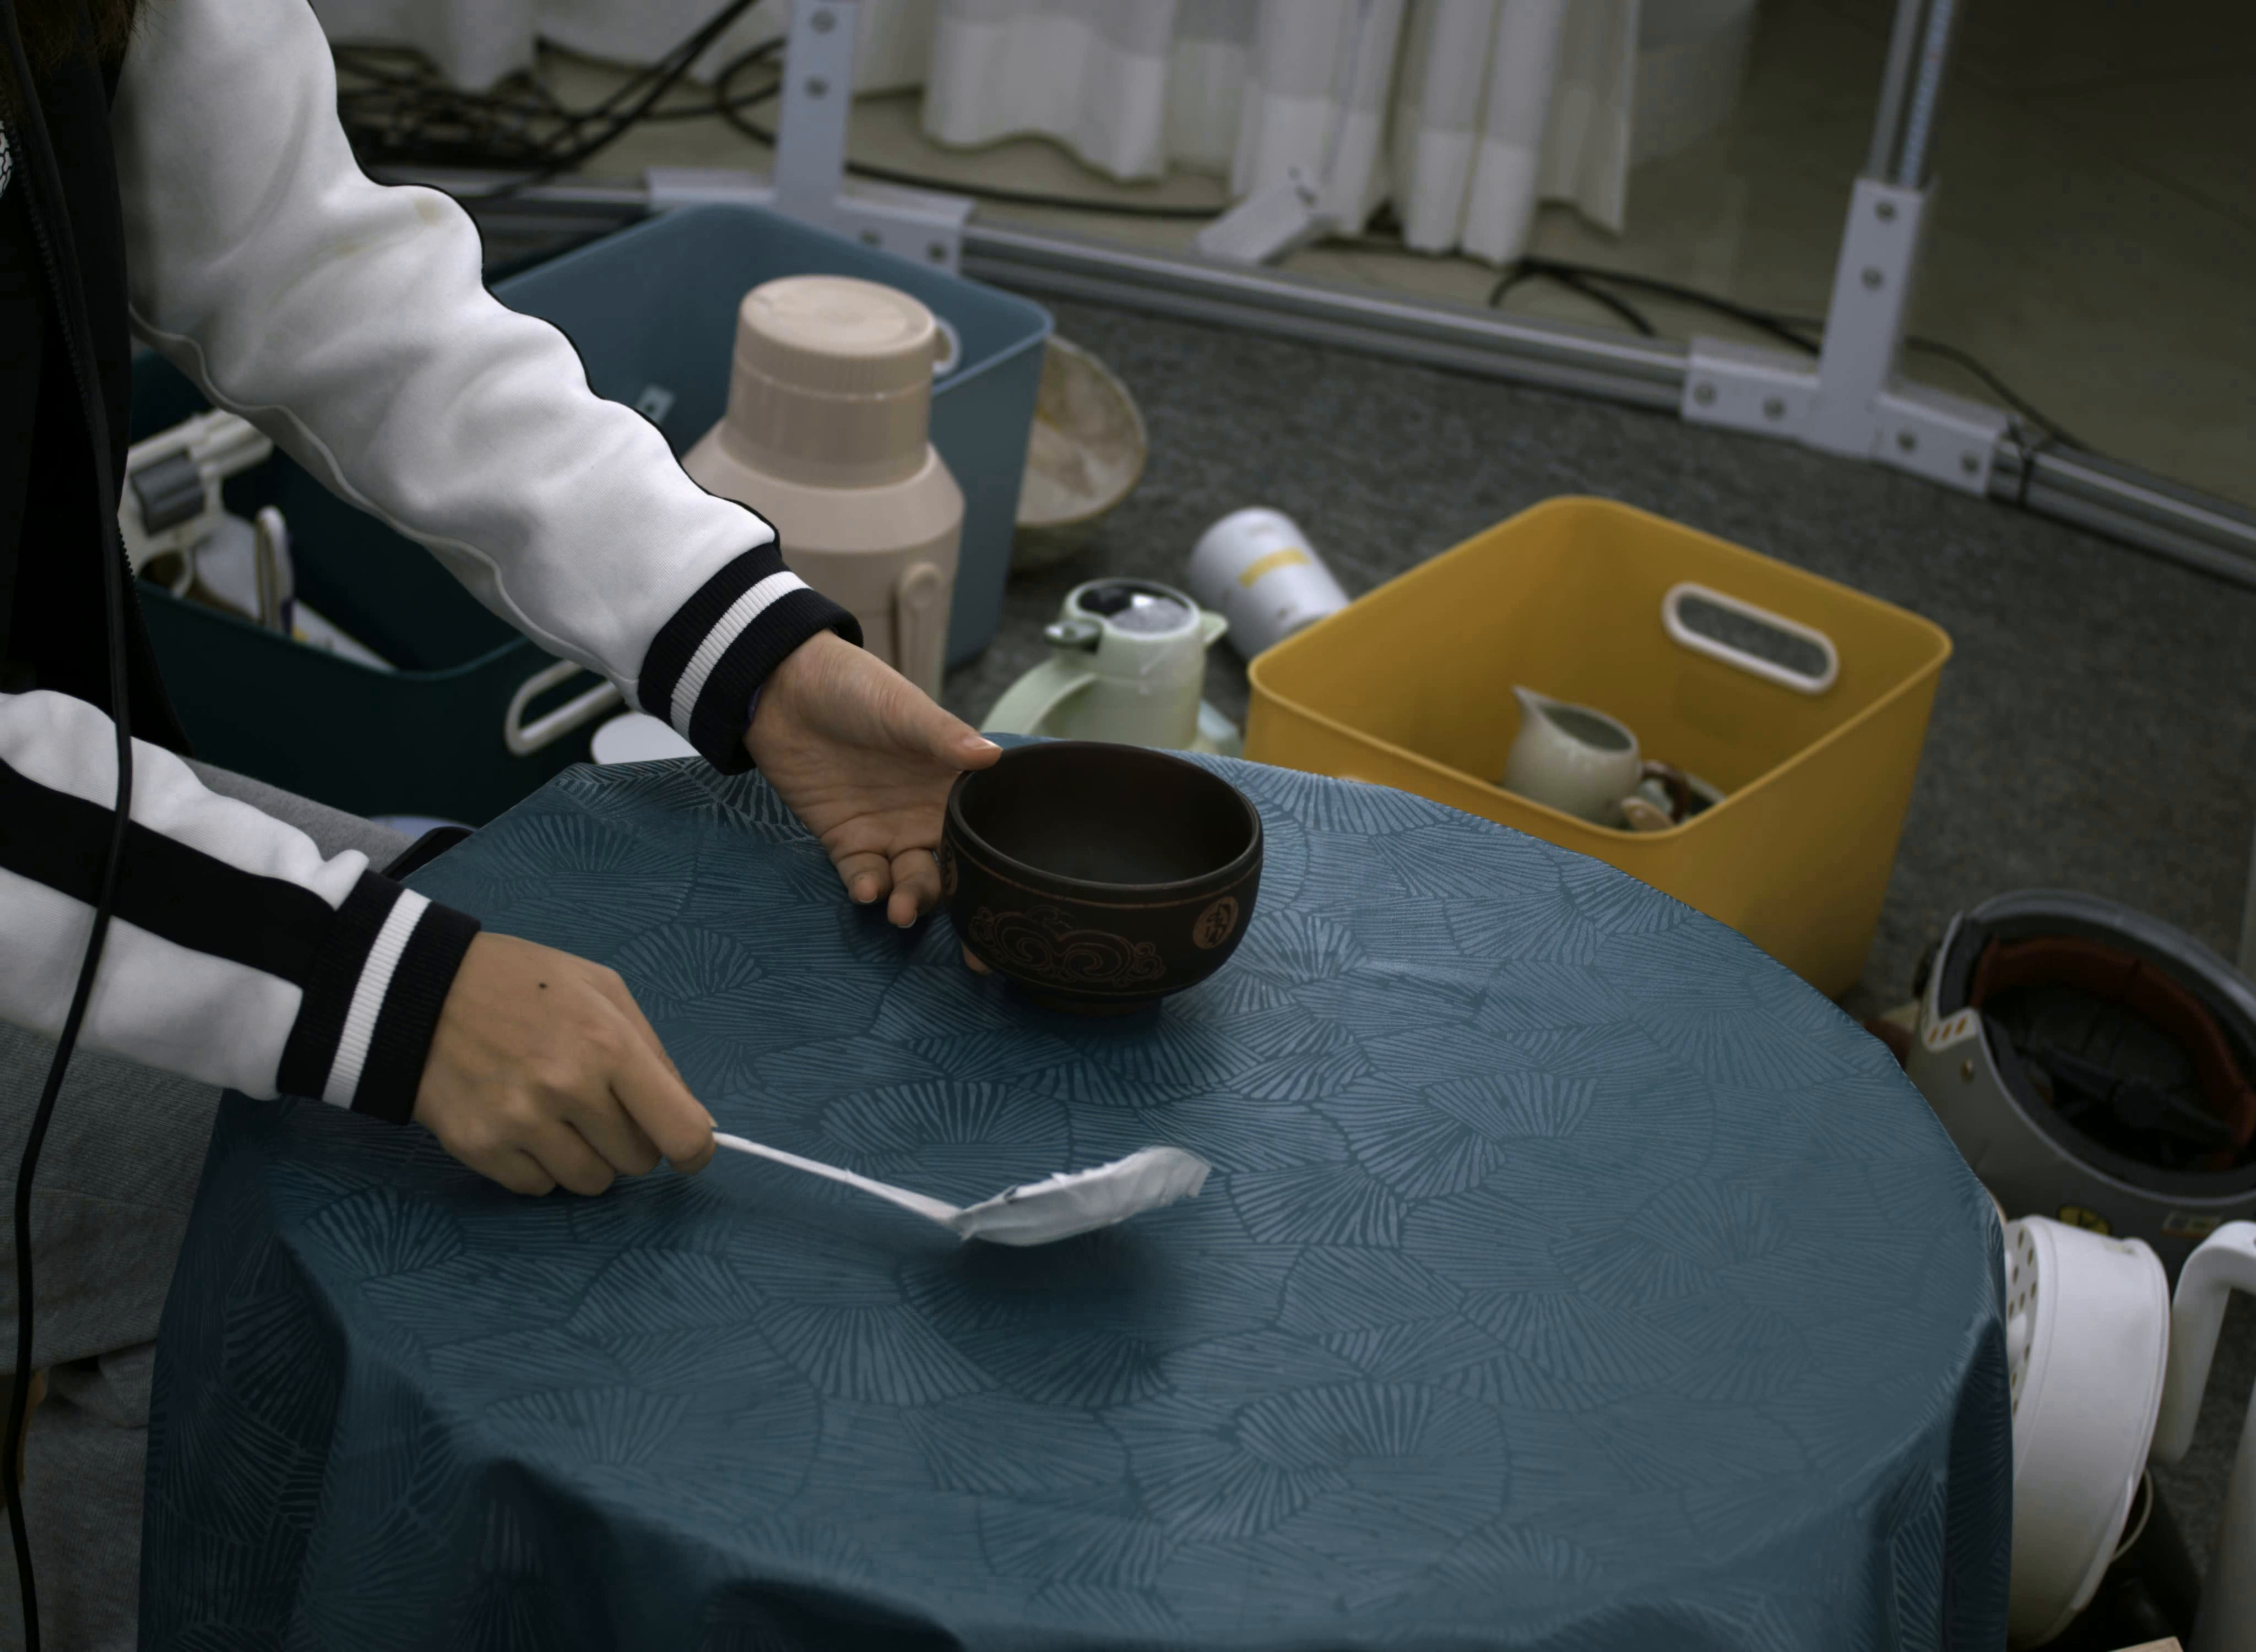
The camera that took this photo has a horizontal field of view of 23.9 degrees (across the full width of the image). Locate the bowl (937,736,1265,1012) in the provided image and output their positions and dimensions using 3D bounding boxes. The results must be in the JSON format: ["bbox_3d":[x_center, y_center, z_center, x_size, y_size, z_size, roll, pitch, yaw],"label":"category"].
[{"bbox_3d":[-0.011,0.023,1.915,0.117,0.069,0.119,5,26,-3],"label":"bowl"}]

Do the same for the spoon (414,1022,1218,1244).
[{"bbox_3d":[-0.105,0.086,1.767,0.278,0.059,0.100,18,0,16],"label":"spoon"}]
